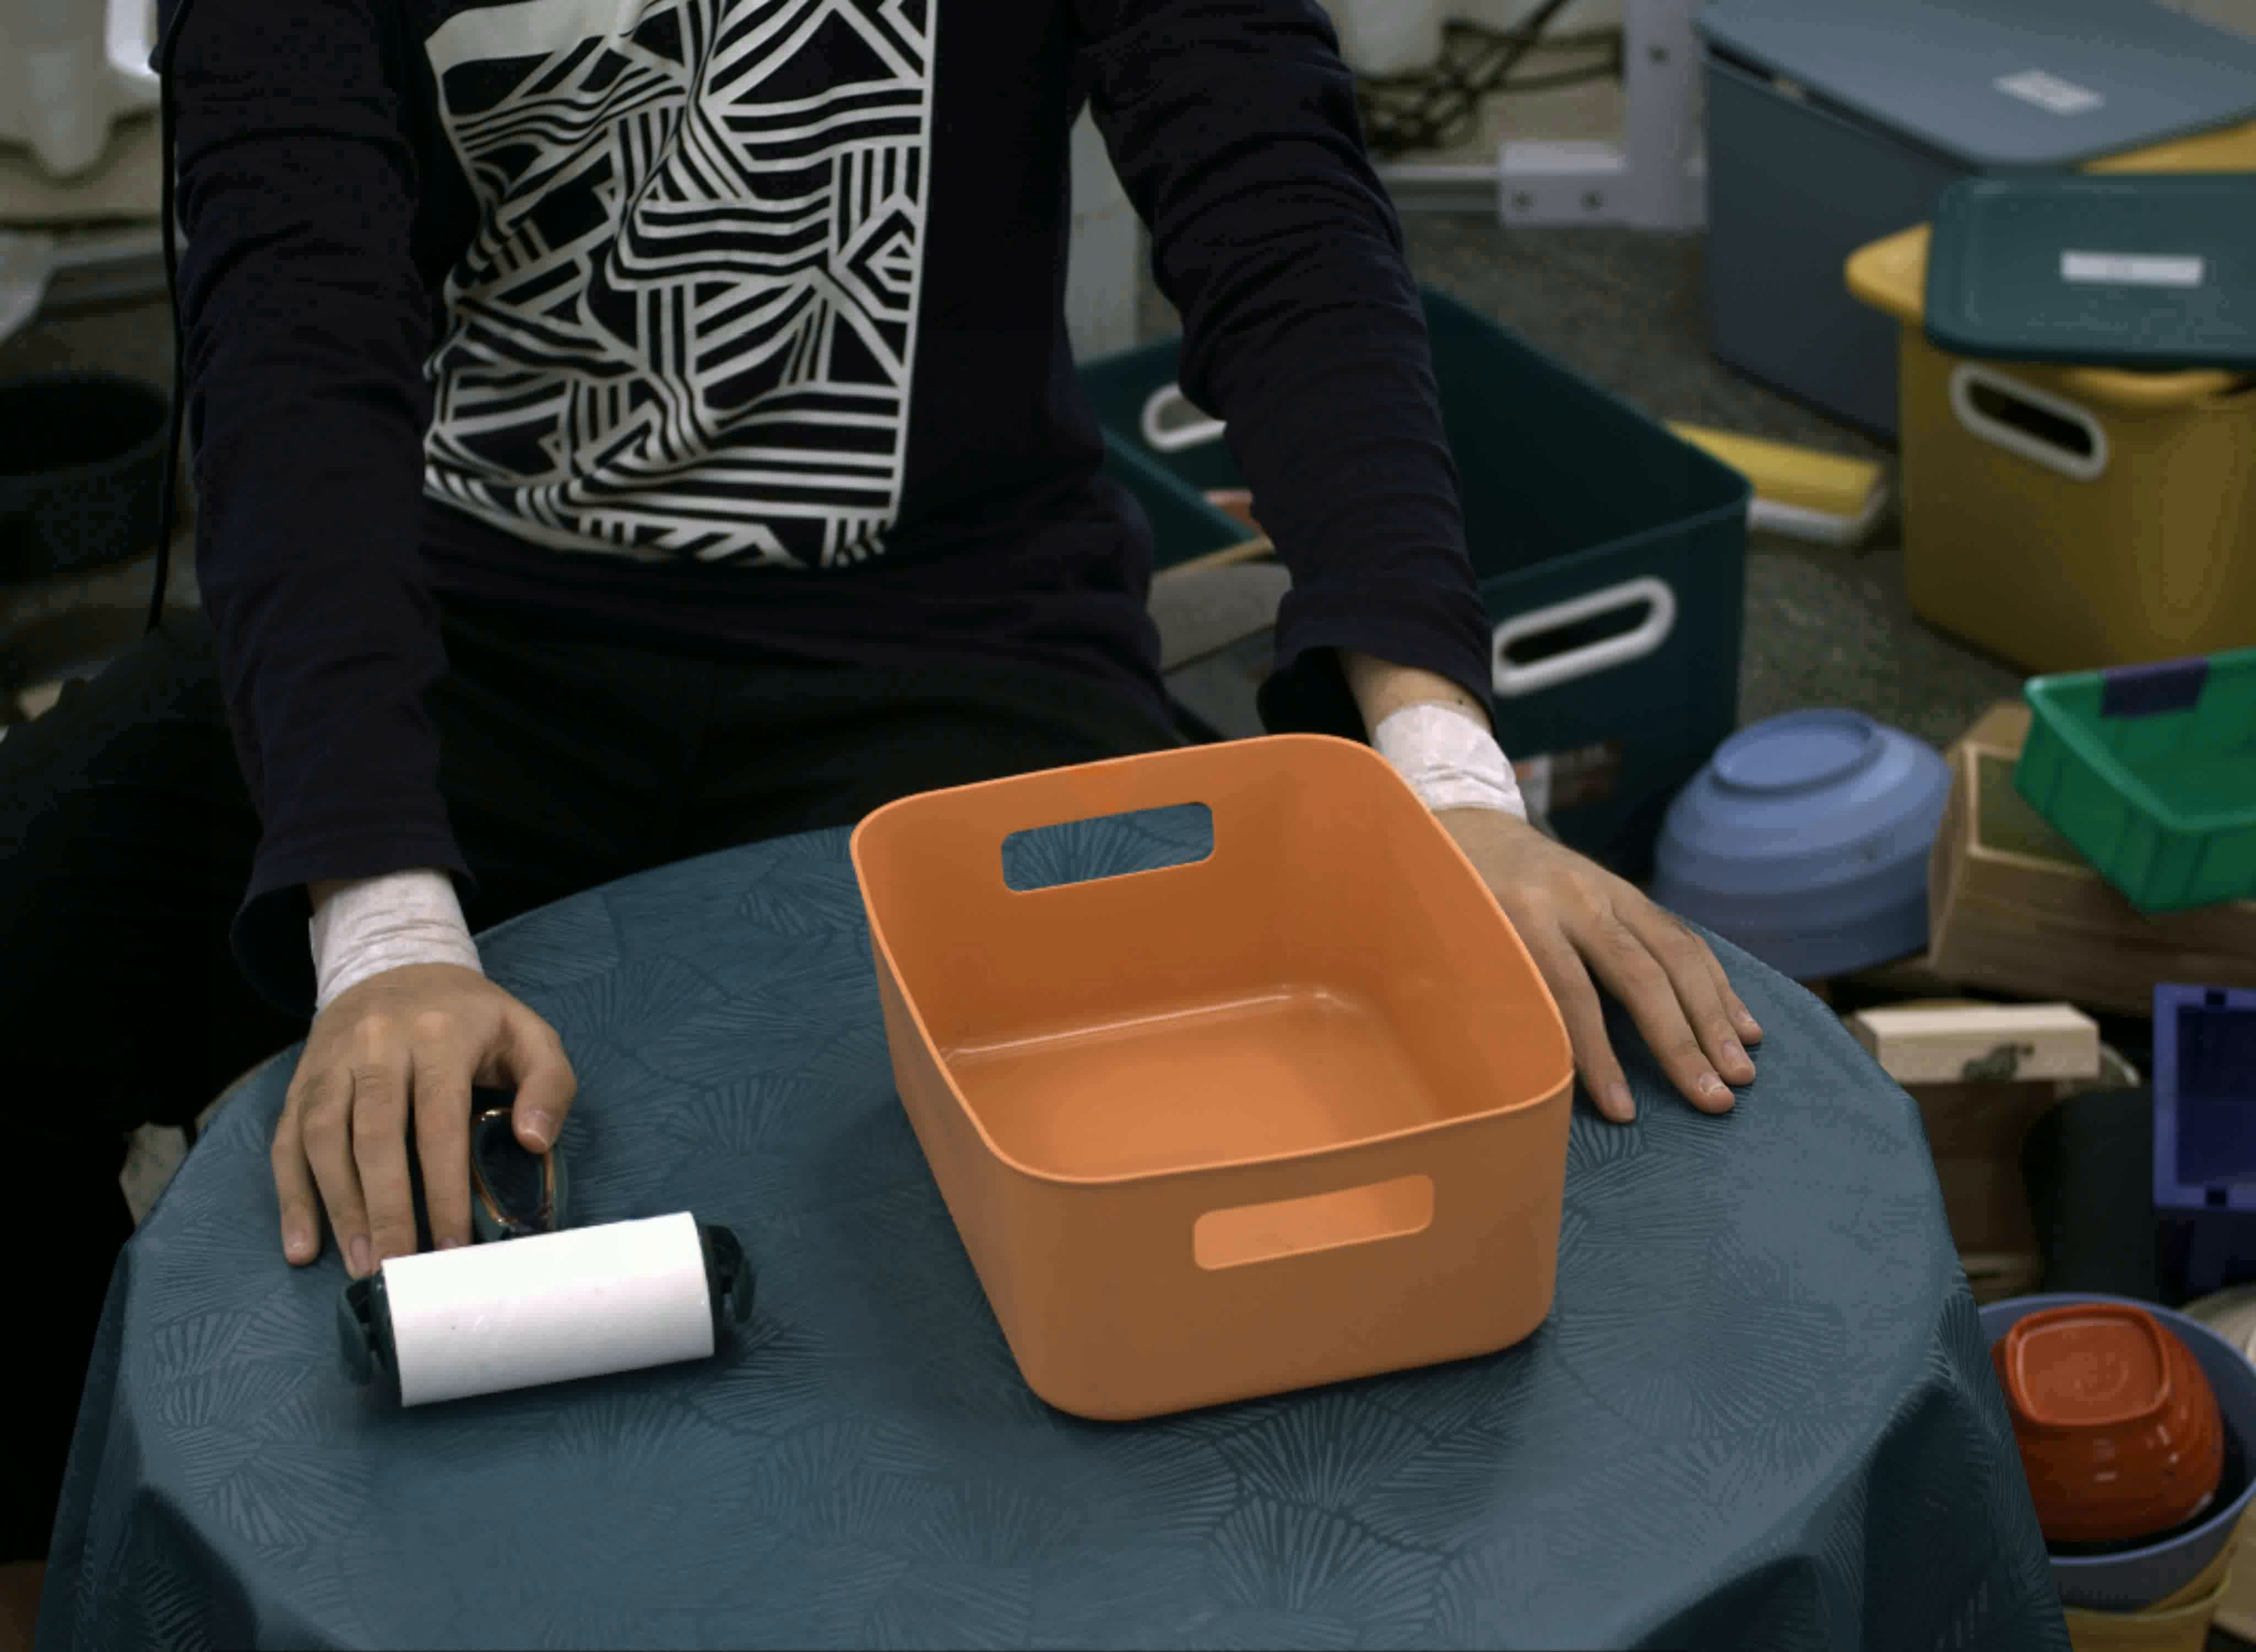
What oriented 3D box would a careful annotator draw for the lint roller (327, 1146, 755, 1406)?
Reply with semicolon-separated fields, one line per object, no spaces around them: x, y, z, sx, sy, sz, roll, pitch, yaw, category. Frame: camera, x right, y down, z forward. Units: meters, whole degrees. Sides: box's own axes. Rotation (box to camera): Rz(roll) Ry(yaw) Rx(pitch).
-0.198;0.127;1.828;0.134;0.048;0.182;-9;24;-10;lint roller

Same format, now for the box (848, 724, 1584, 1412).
0.025;0.078;1.830;0.199;0.101;0.276;-9;27;-13;box
